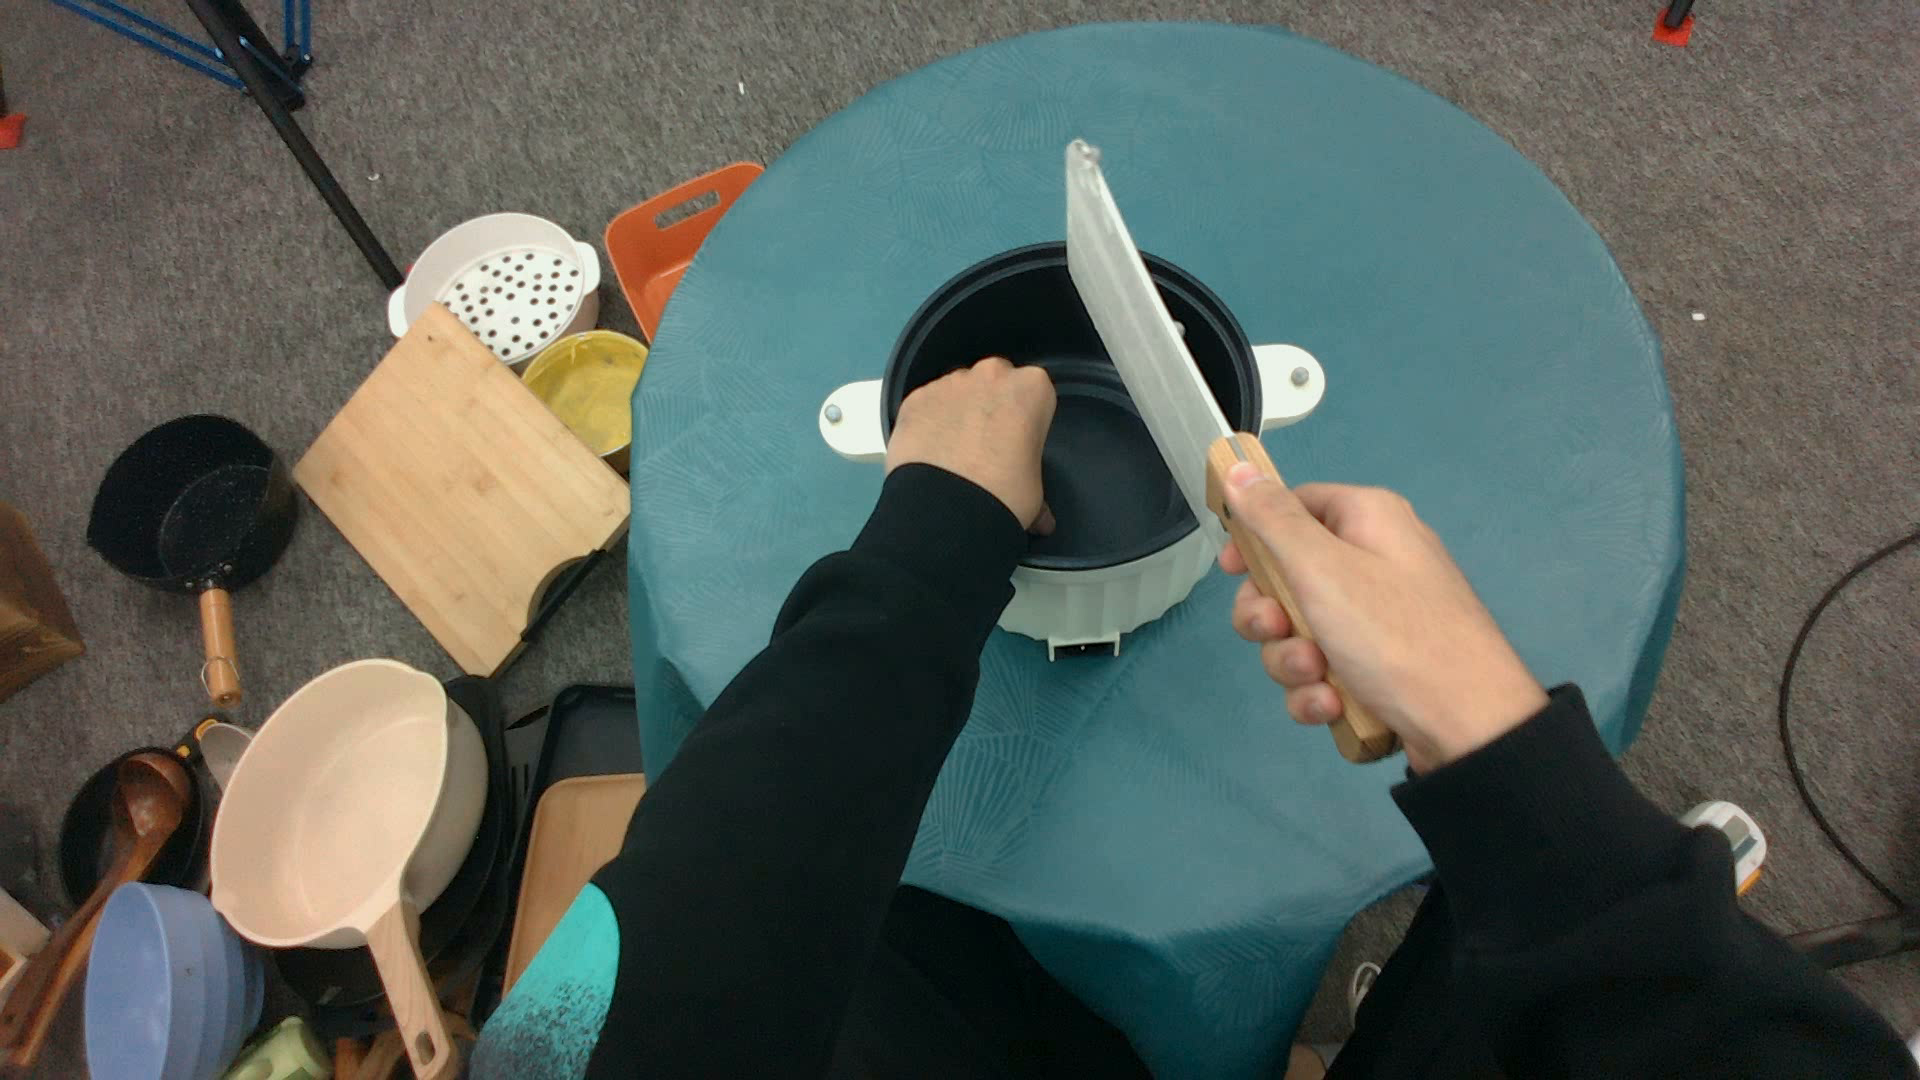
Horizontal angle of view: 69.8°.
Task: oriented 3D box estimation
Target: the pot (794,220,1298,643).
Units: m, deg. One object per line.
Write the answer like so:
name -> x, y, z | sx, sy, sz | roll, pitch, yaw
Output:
pot -> 0.042, -0.056, 0.712 | 0.240, 0.142, 0.191 | -5, 69, 0

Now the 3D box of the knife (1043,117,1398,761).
knife -> 0.087, -0.049, 0.549 | 0.022, 0.113, 0.316 | -19, 54, -5
